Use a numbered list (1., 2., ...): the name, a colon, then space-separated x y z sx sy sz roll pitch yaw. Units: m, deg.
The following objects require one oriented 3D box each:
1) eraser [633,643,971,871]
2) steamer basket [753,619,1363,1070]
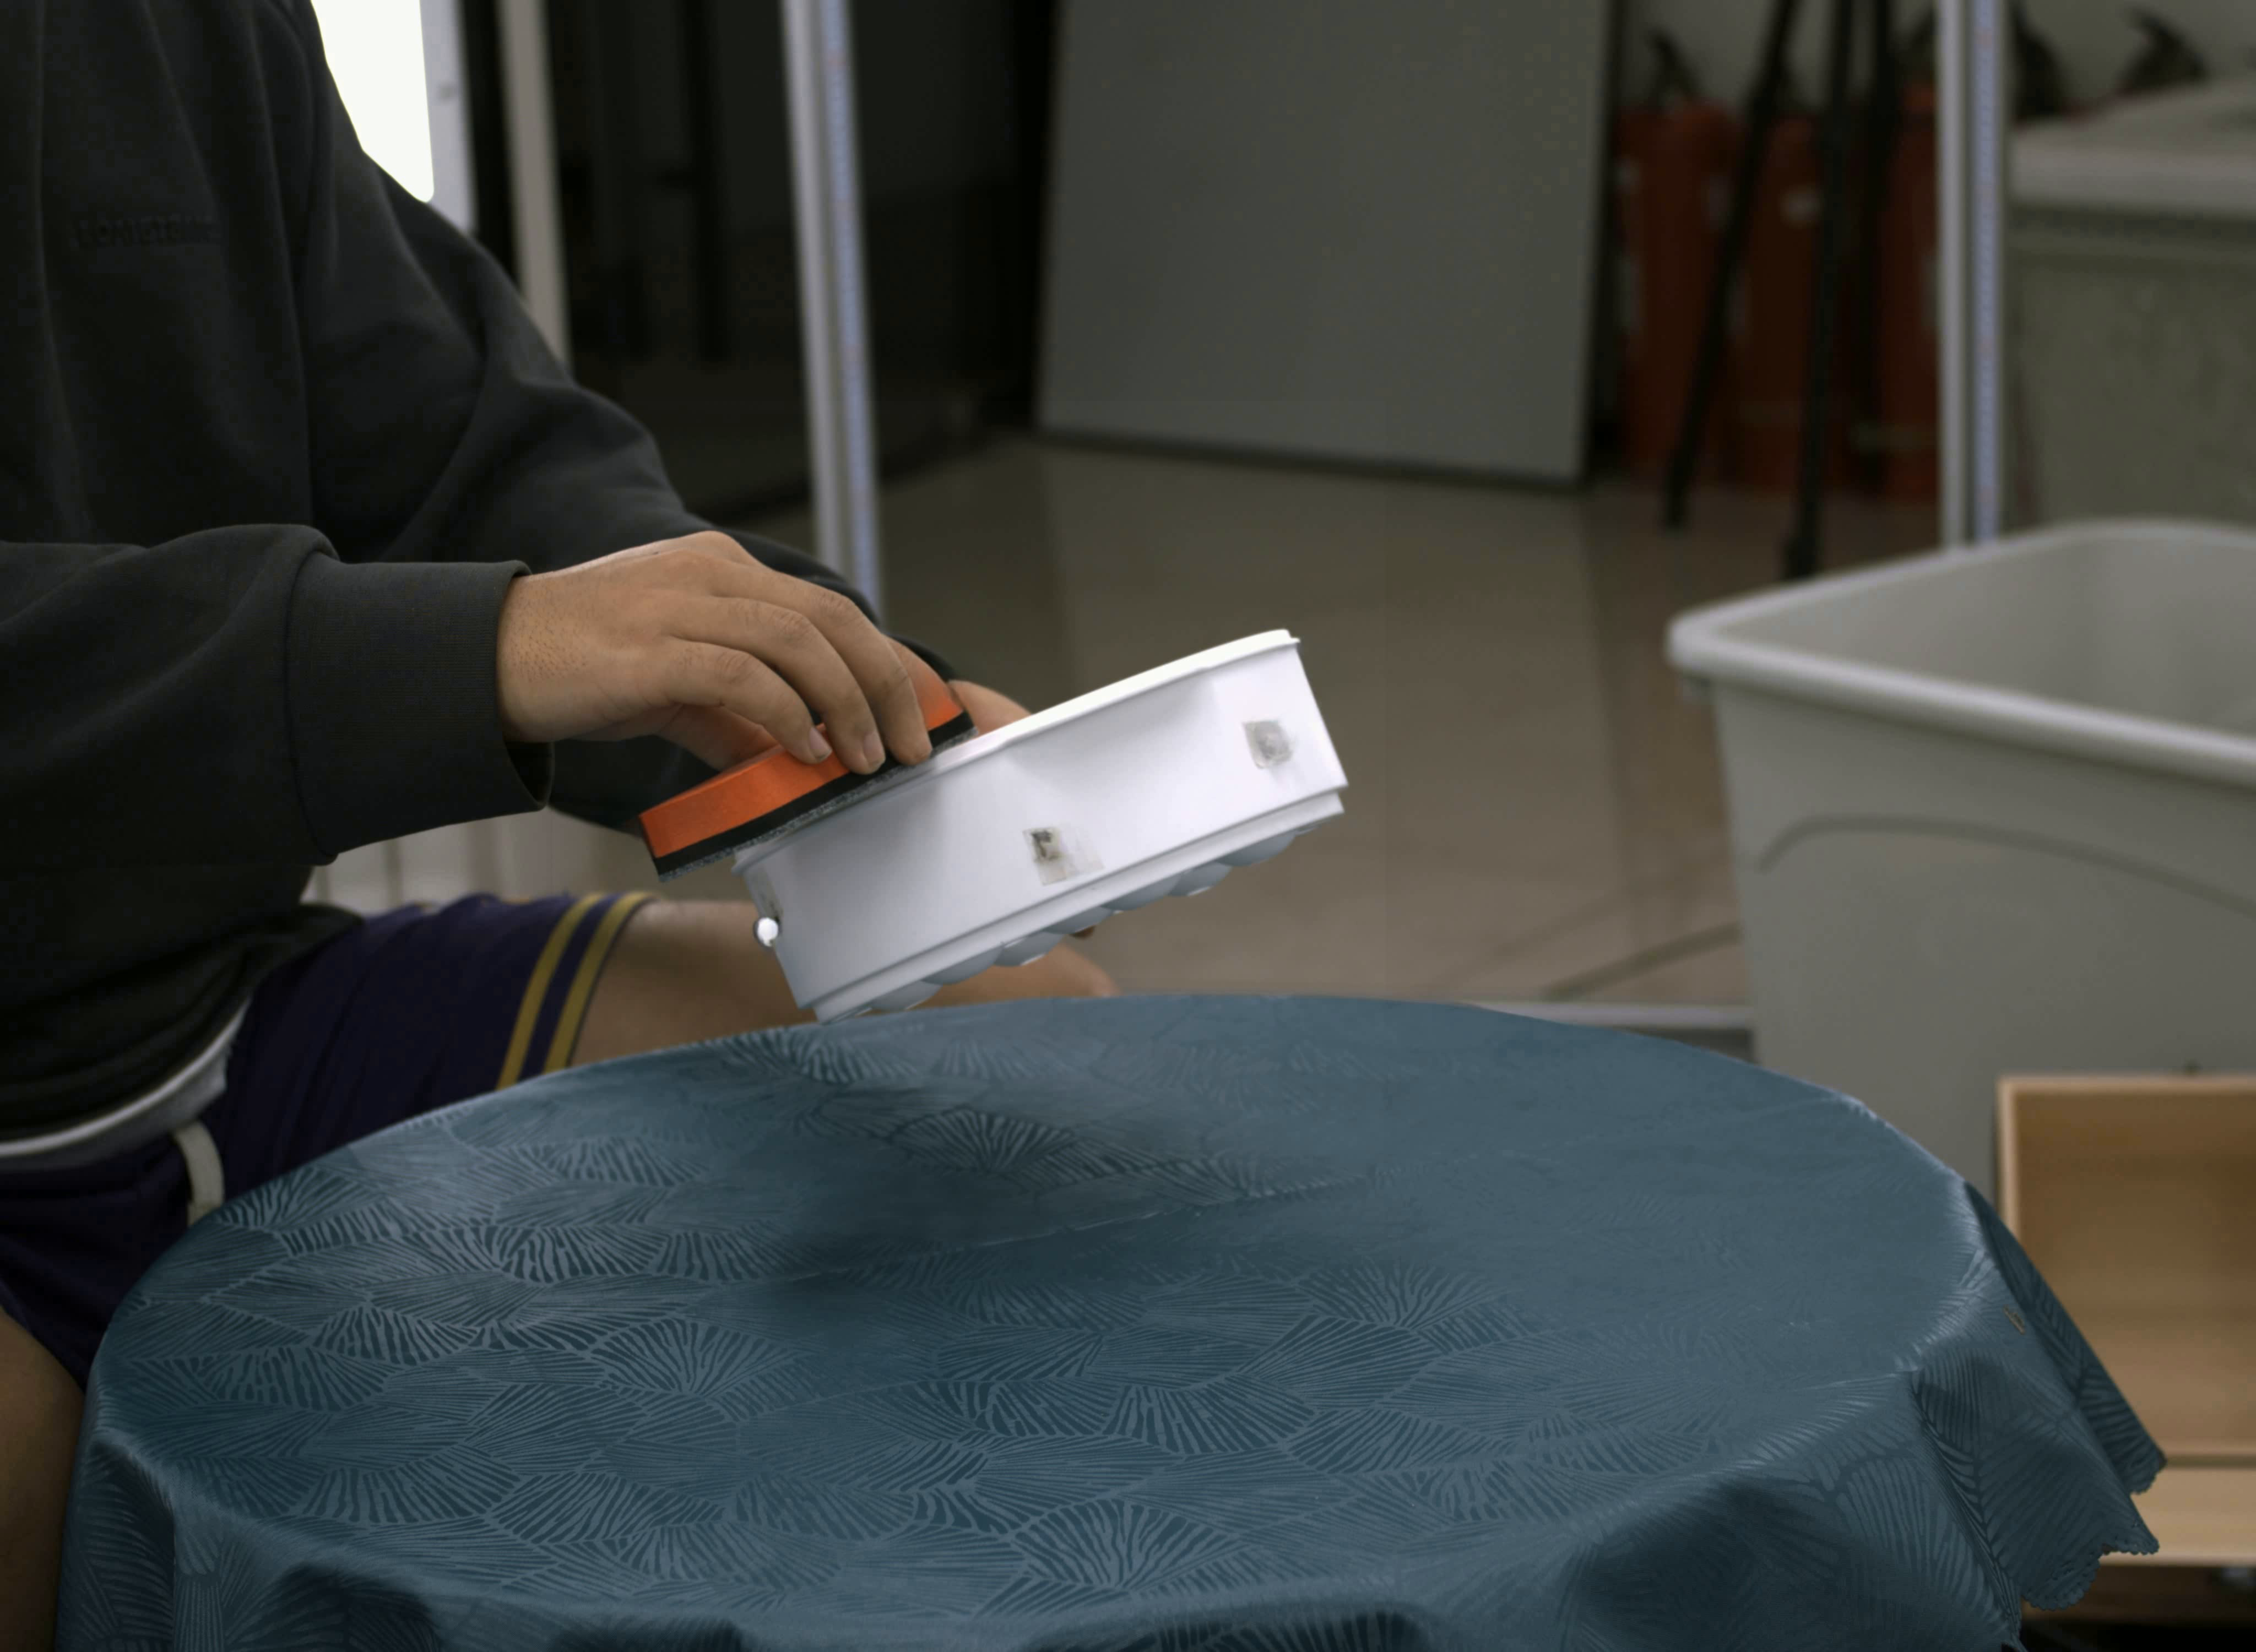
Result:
1. eraser: -0.099 -0.022 1.649 0.059 0.023 0.106 -31 0 43
2. steamer basket: -0.019 0.009 1.737 0.198 0.070 0.232 -25 -6 -21
